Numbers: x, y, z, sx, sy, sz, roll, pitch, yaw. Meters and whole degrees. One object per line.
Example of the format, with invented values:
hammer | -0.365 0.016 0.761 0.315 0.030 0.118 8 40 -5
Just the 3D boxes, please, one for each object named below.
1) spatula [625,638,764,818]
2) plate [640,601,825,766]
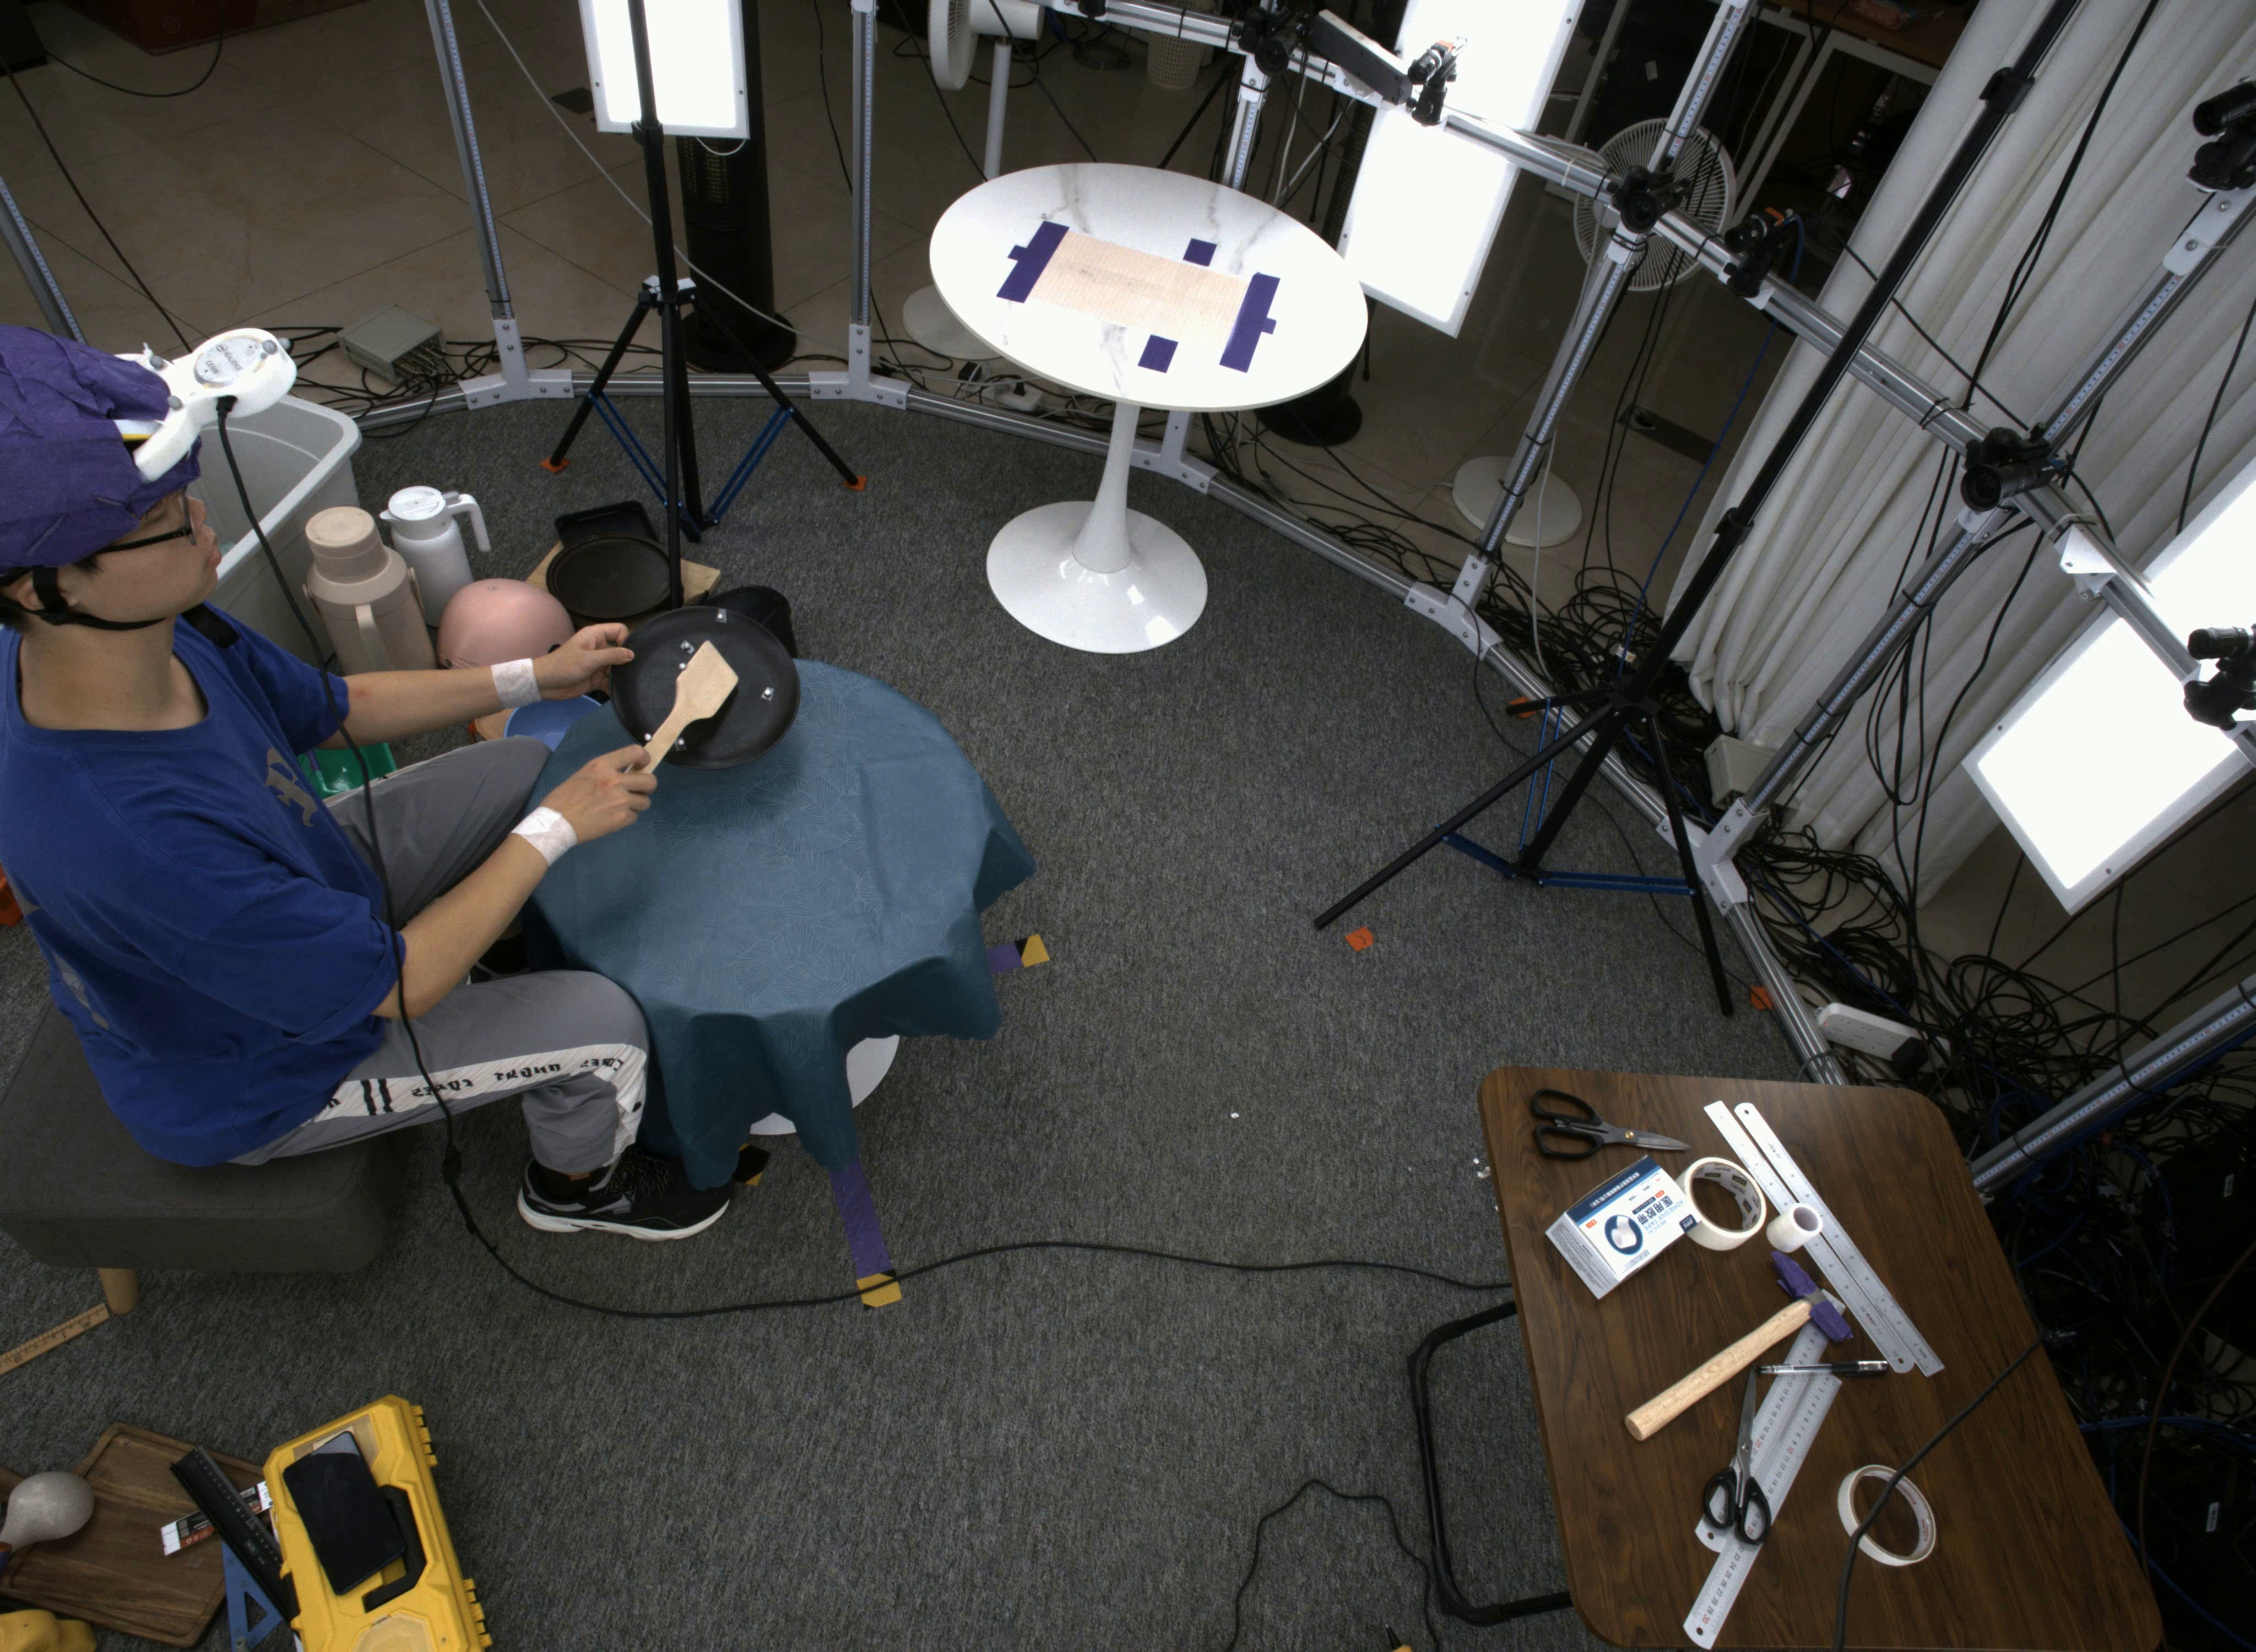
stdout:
spatula | -0.548 -0.122 1.615 0.010 0.075 0.290 -6 43 33
plate | -0.527 -0.187 1.715 0.246 0.023 0.242 9 67 -18
